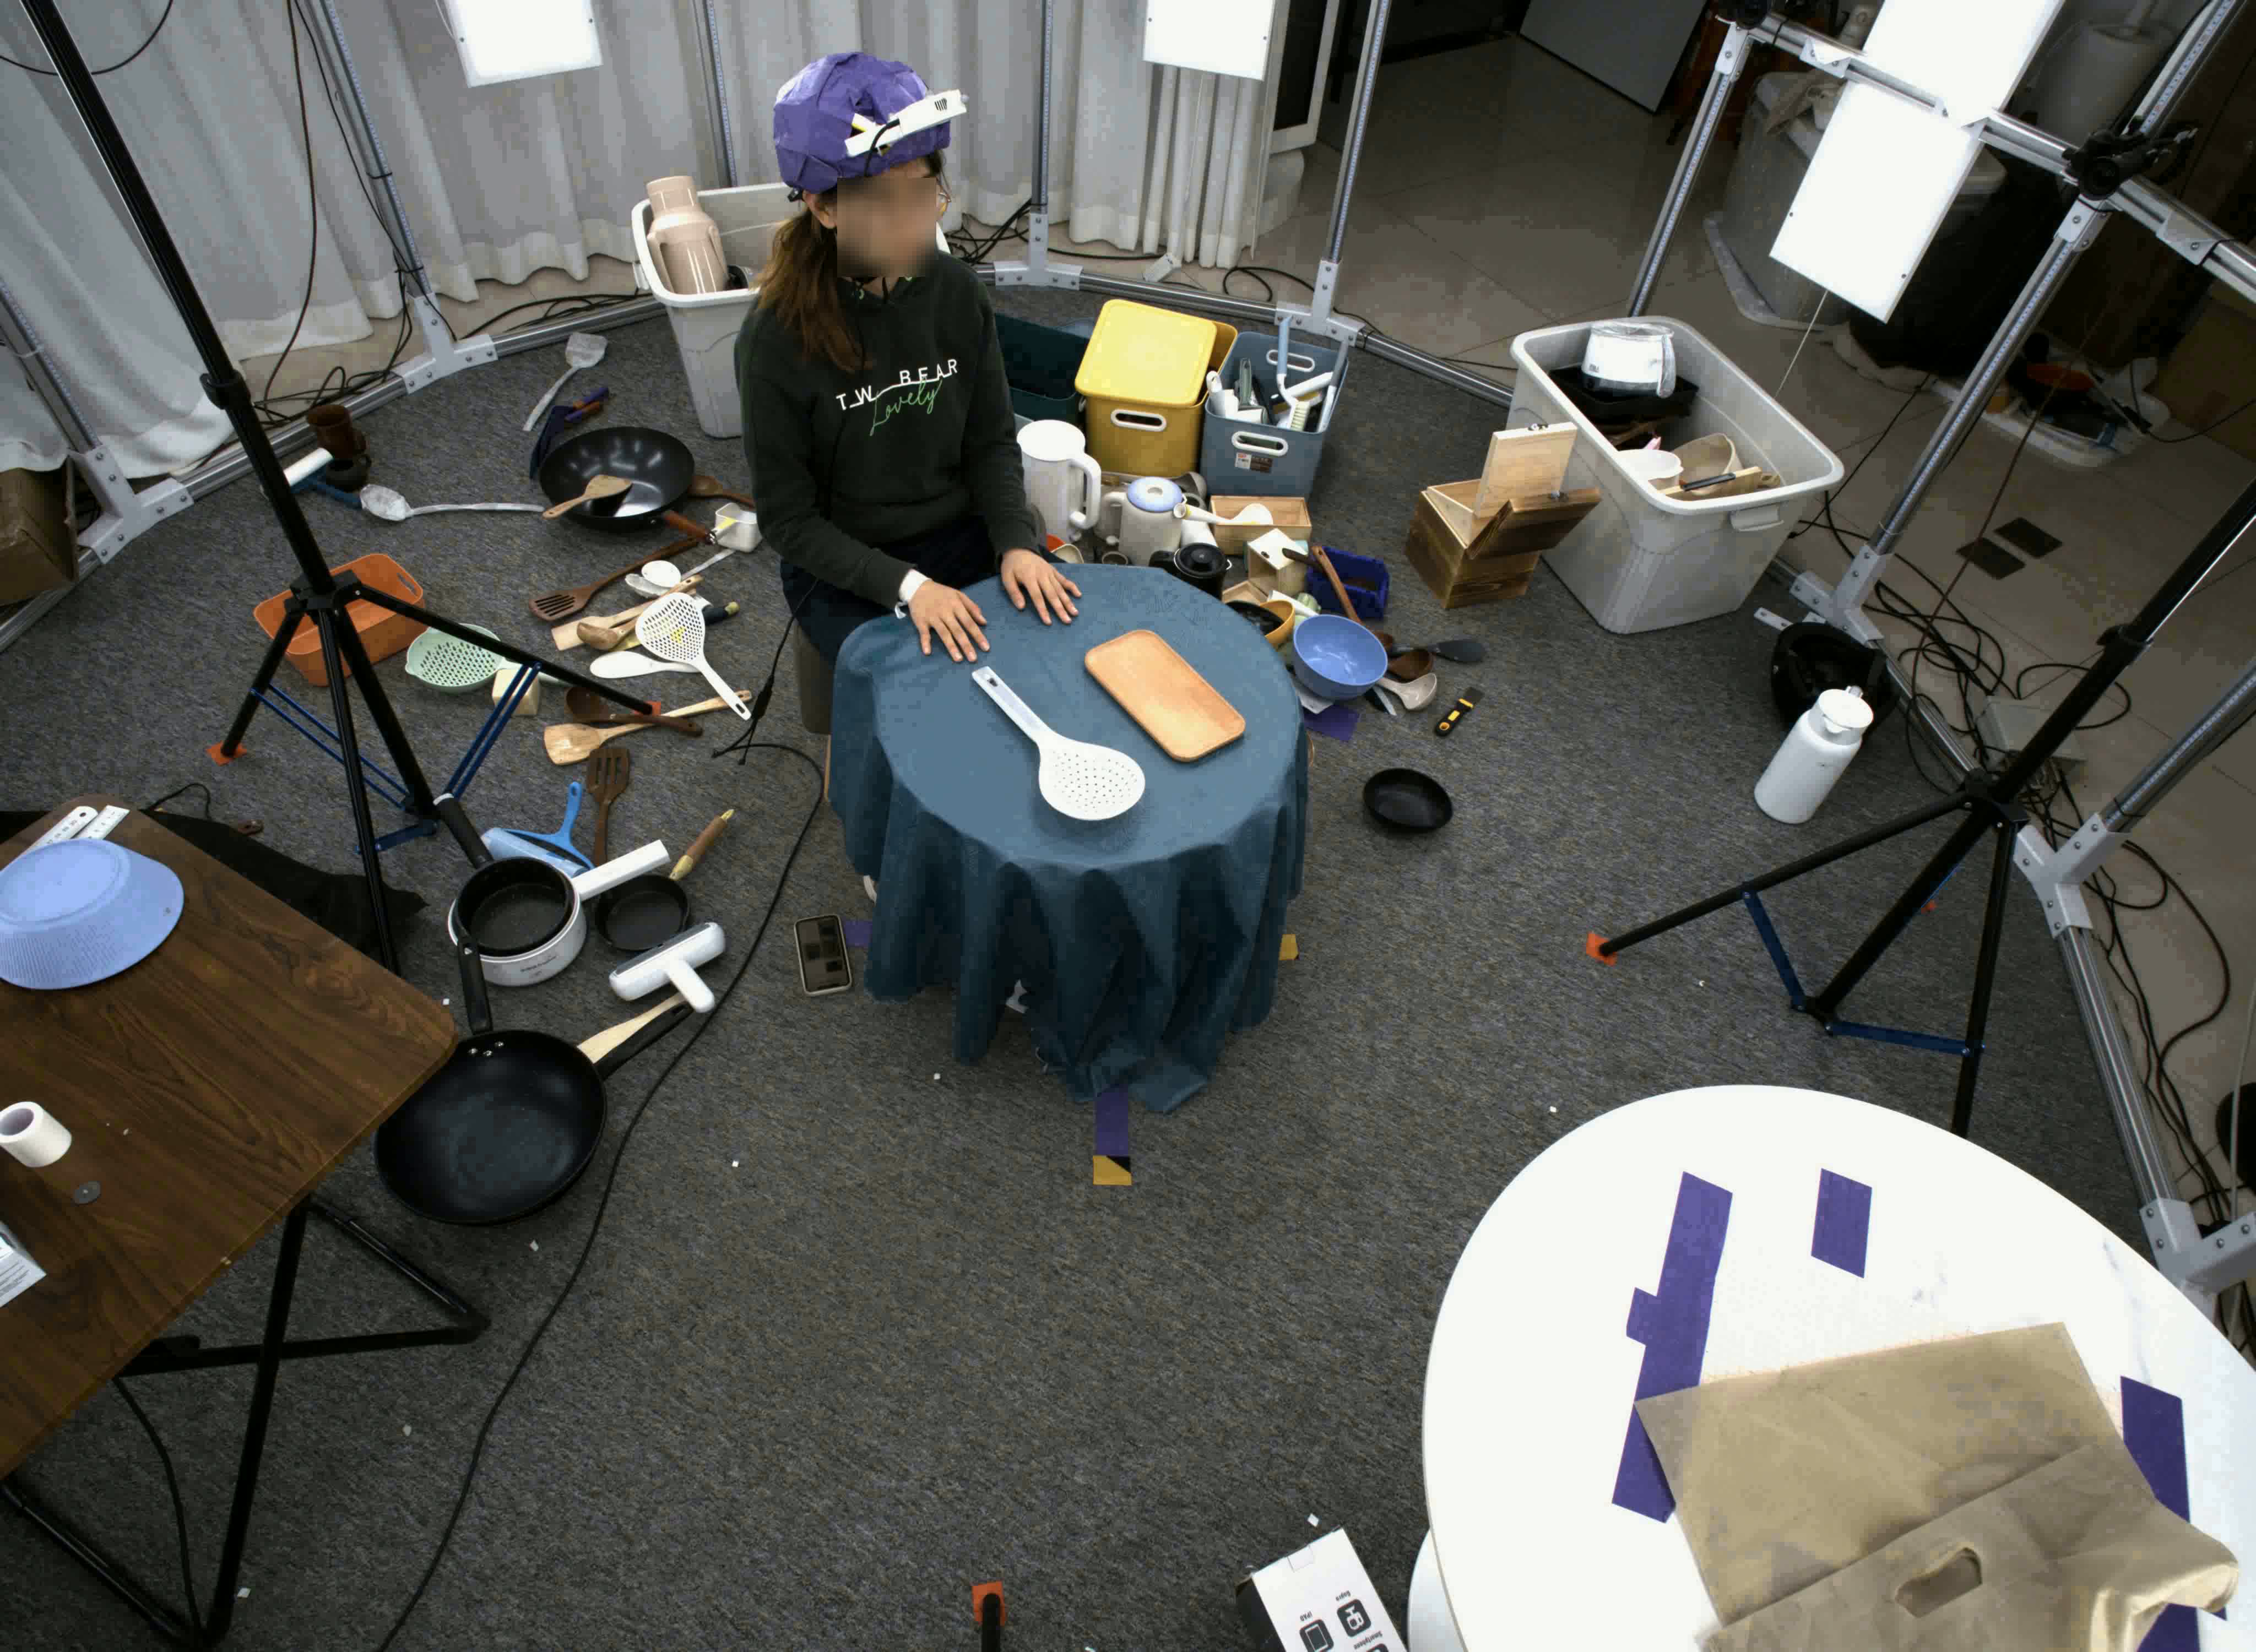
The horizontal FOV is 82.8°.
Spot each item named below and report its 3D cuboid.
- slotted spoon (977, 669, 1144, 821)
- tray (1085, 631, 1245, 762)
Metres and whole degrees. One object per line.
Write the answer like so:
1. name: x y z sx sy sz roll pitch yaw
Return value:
1. slotted spoon: -0.109 -0.116 1.748 0.136 0.044 0.356 -24 54 -25
2. tray: 0.051 -0.189 1.841 0.131 0.022 0.255 -25 54 -25
